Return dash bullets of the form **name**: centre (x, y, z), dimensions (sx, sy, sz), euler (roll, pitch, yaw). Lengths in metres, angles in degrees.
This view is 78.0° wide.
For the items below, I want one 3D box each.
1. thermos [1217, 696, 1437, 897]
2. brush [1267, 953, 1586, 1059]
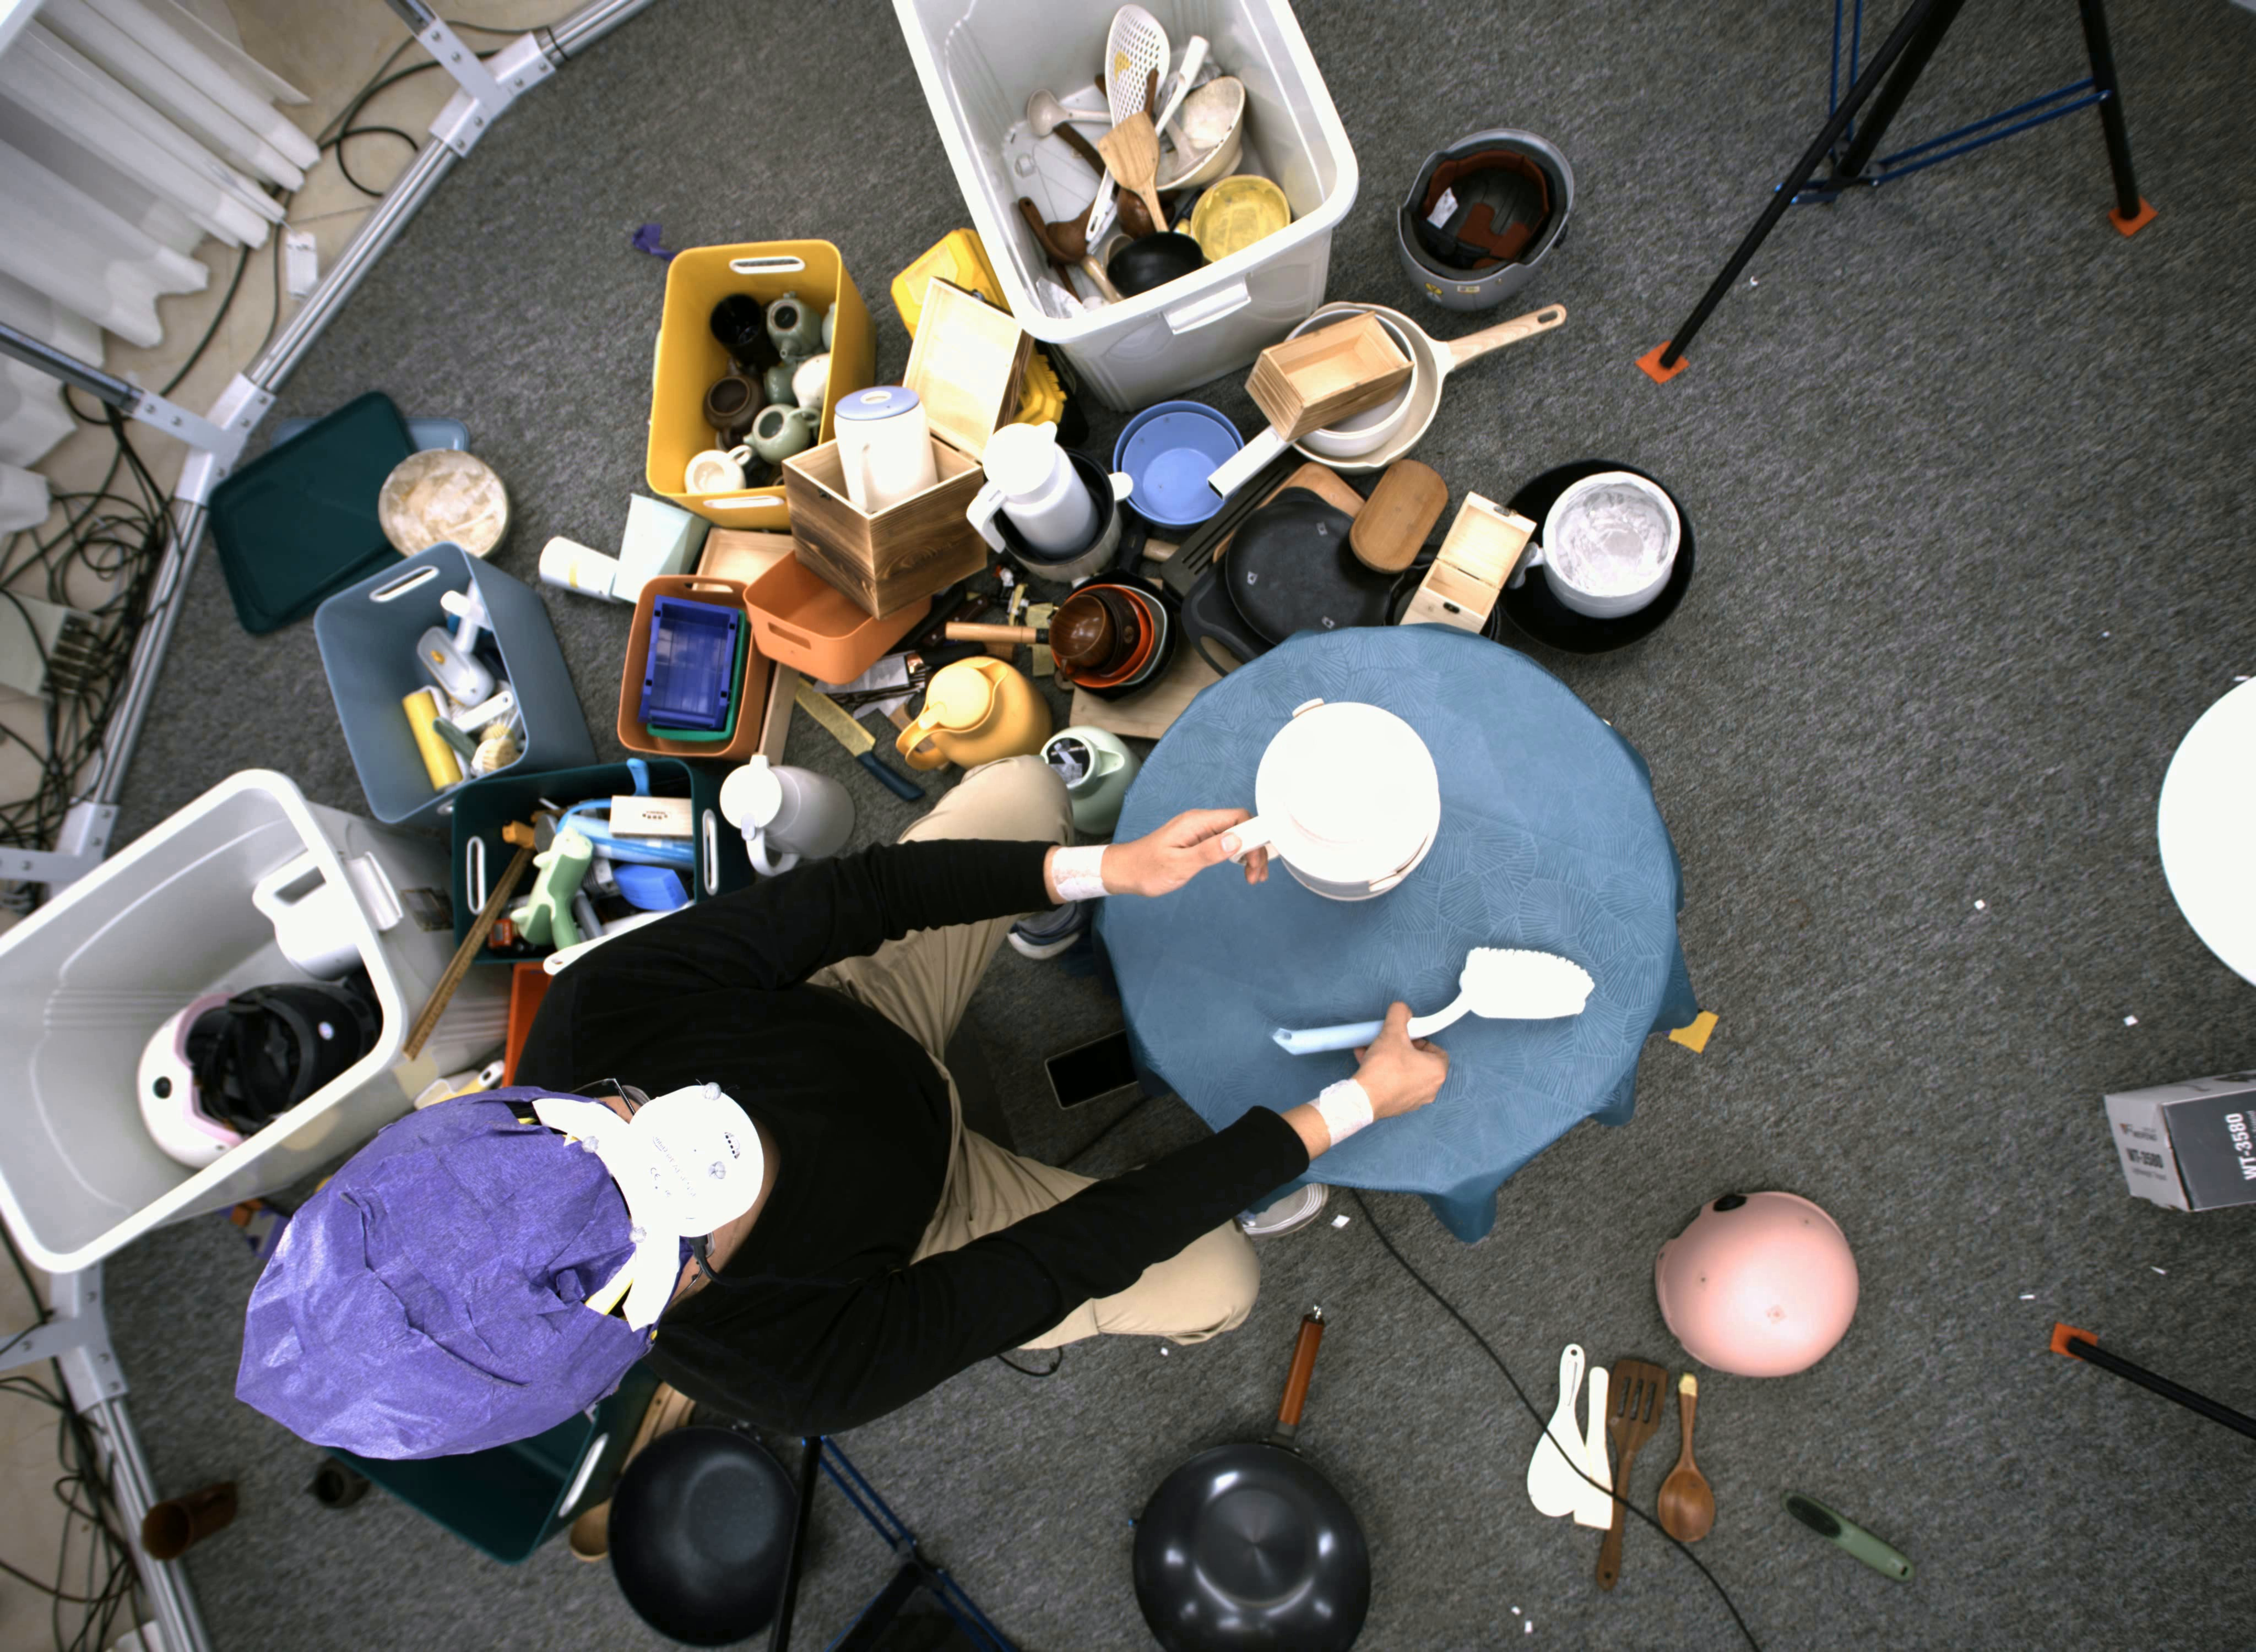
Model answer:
- **thermos**: centre (0.187, -0.018, 1.279), dimensions (0.208, 0.406, 0.174), euler (-24, 82, 6)
- **brush**: centre (0.300, 0.175, 1.393), dimensions (0.326, 0.083, 0.084), euler (-8, 86, 2)
